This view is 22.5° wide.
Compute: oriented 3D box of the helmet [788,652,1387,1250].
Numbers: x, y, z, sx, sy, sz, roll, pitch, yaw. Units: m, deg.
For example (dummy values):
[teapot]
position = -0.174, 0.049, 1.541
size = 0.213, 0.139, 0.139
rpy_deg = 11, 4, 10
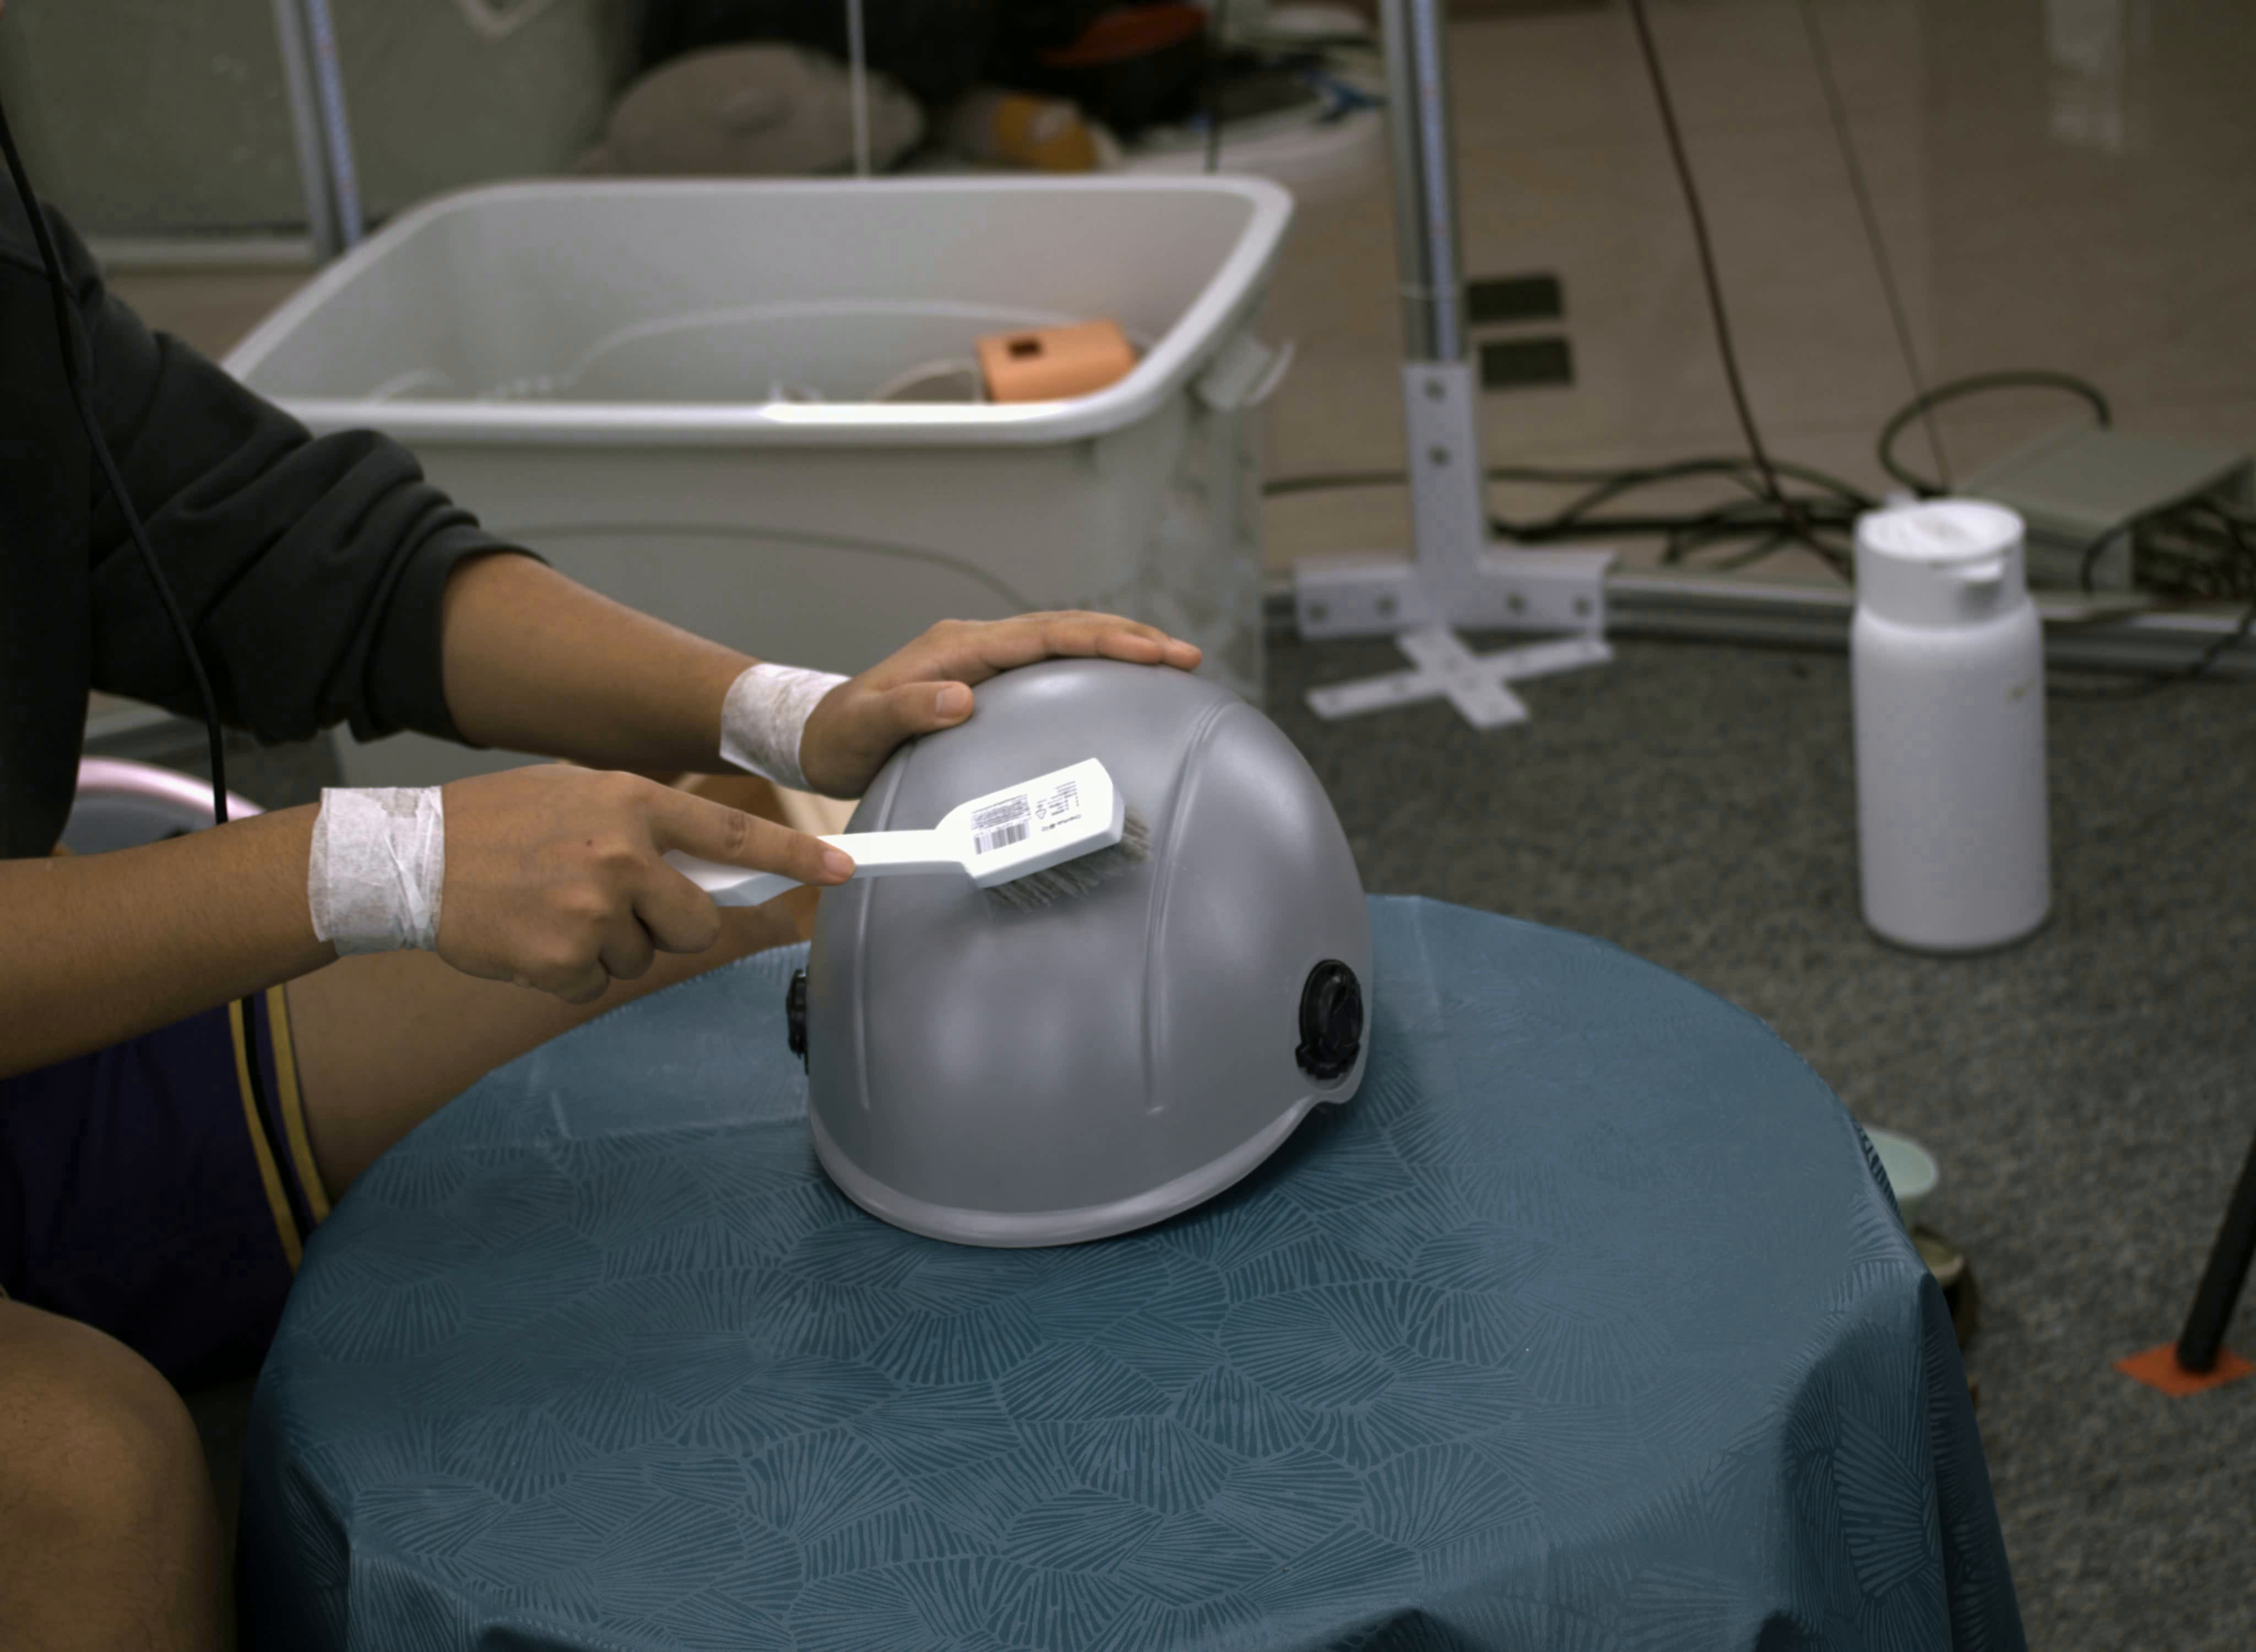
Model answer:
[helmet]
position = -0.020, 0.028, 2.197
size = 0.231, 0.171, 0.272
rpy_deg = -1, 27, 17

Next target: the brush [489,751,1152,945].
[brush]
position = -0.112, 0.019, 2.083
size = 0.243, 0.051, 0.034
rpy_deg = -12, 59, -1
